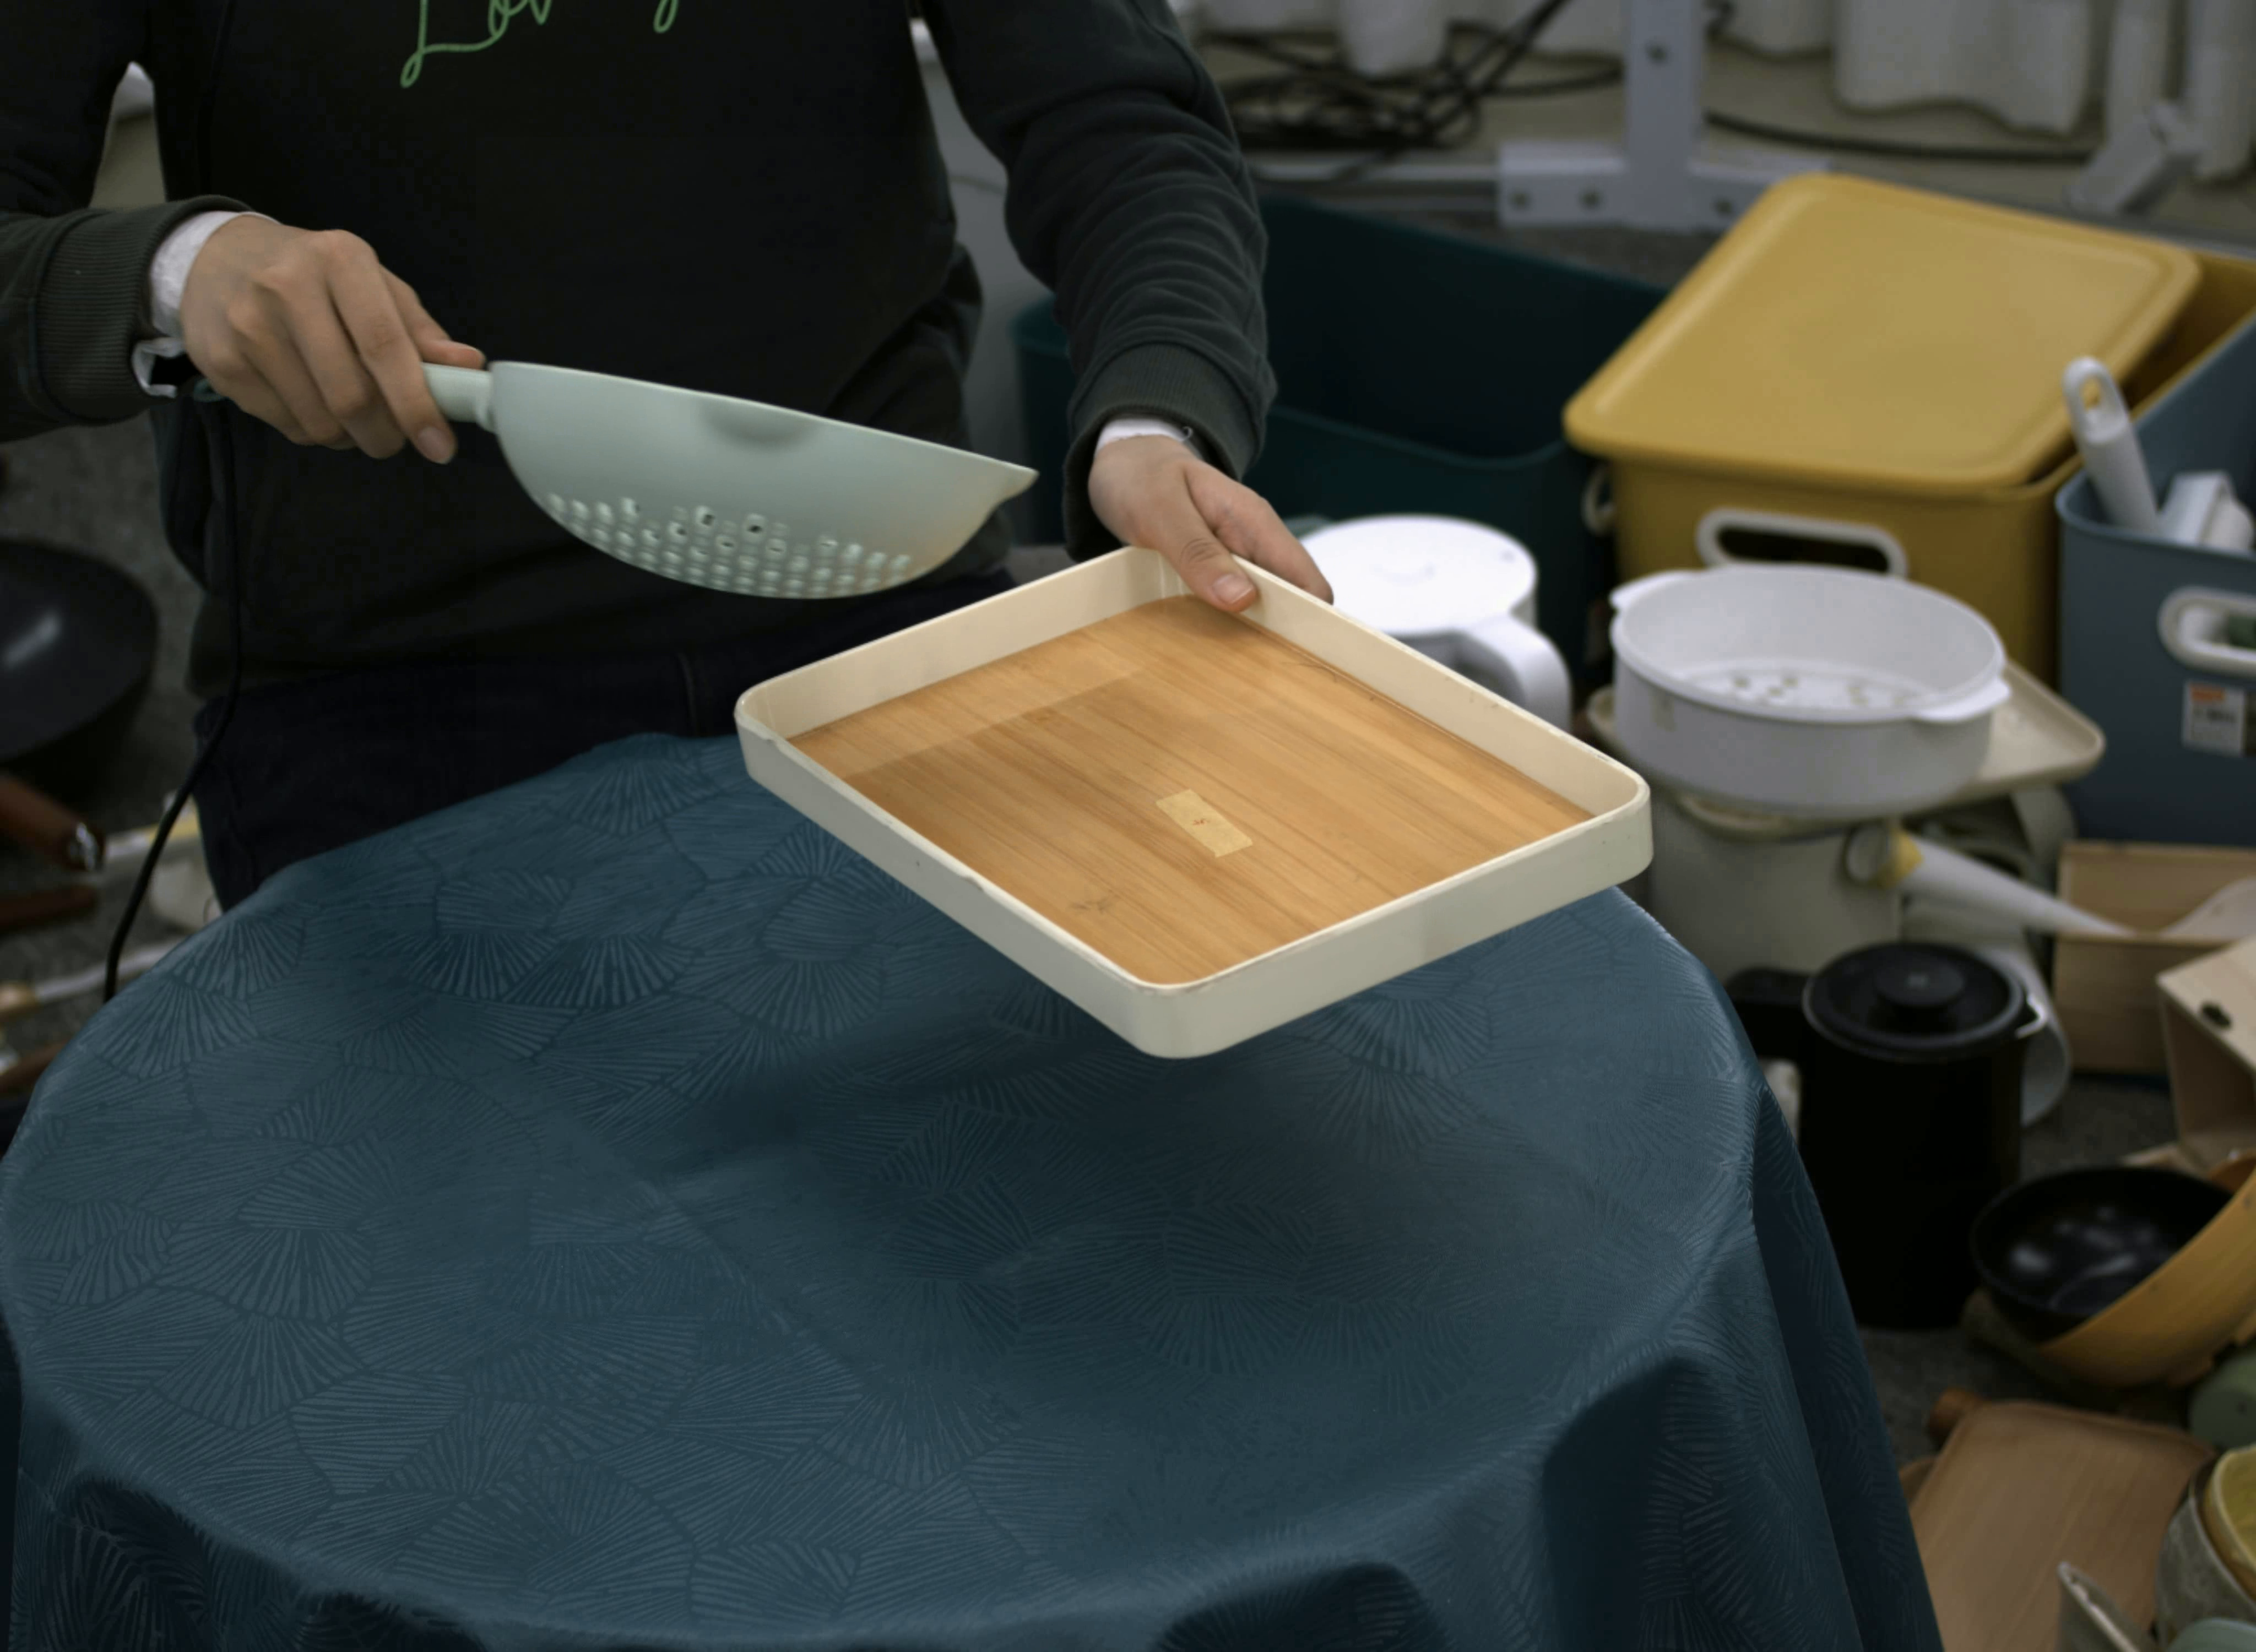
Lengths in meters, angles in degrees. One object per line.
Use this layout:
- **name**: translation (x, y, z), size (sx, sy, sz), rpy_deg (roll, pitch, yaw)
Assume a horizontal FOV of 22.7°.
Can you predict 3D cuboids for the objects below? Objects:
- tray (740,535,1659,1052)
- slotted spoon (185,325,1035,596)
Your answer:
- **tray**: translation (0.018, -0.016, 1.839), size (0.193, 0.027, 0.301), rpy_deg (-21, 28, -24)
- **slotted spoon**: translation (-0.195, -0.136, 1.868), size (0.358, 0.075, 0.169), rpy_deg (23, 6, 41)
